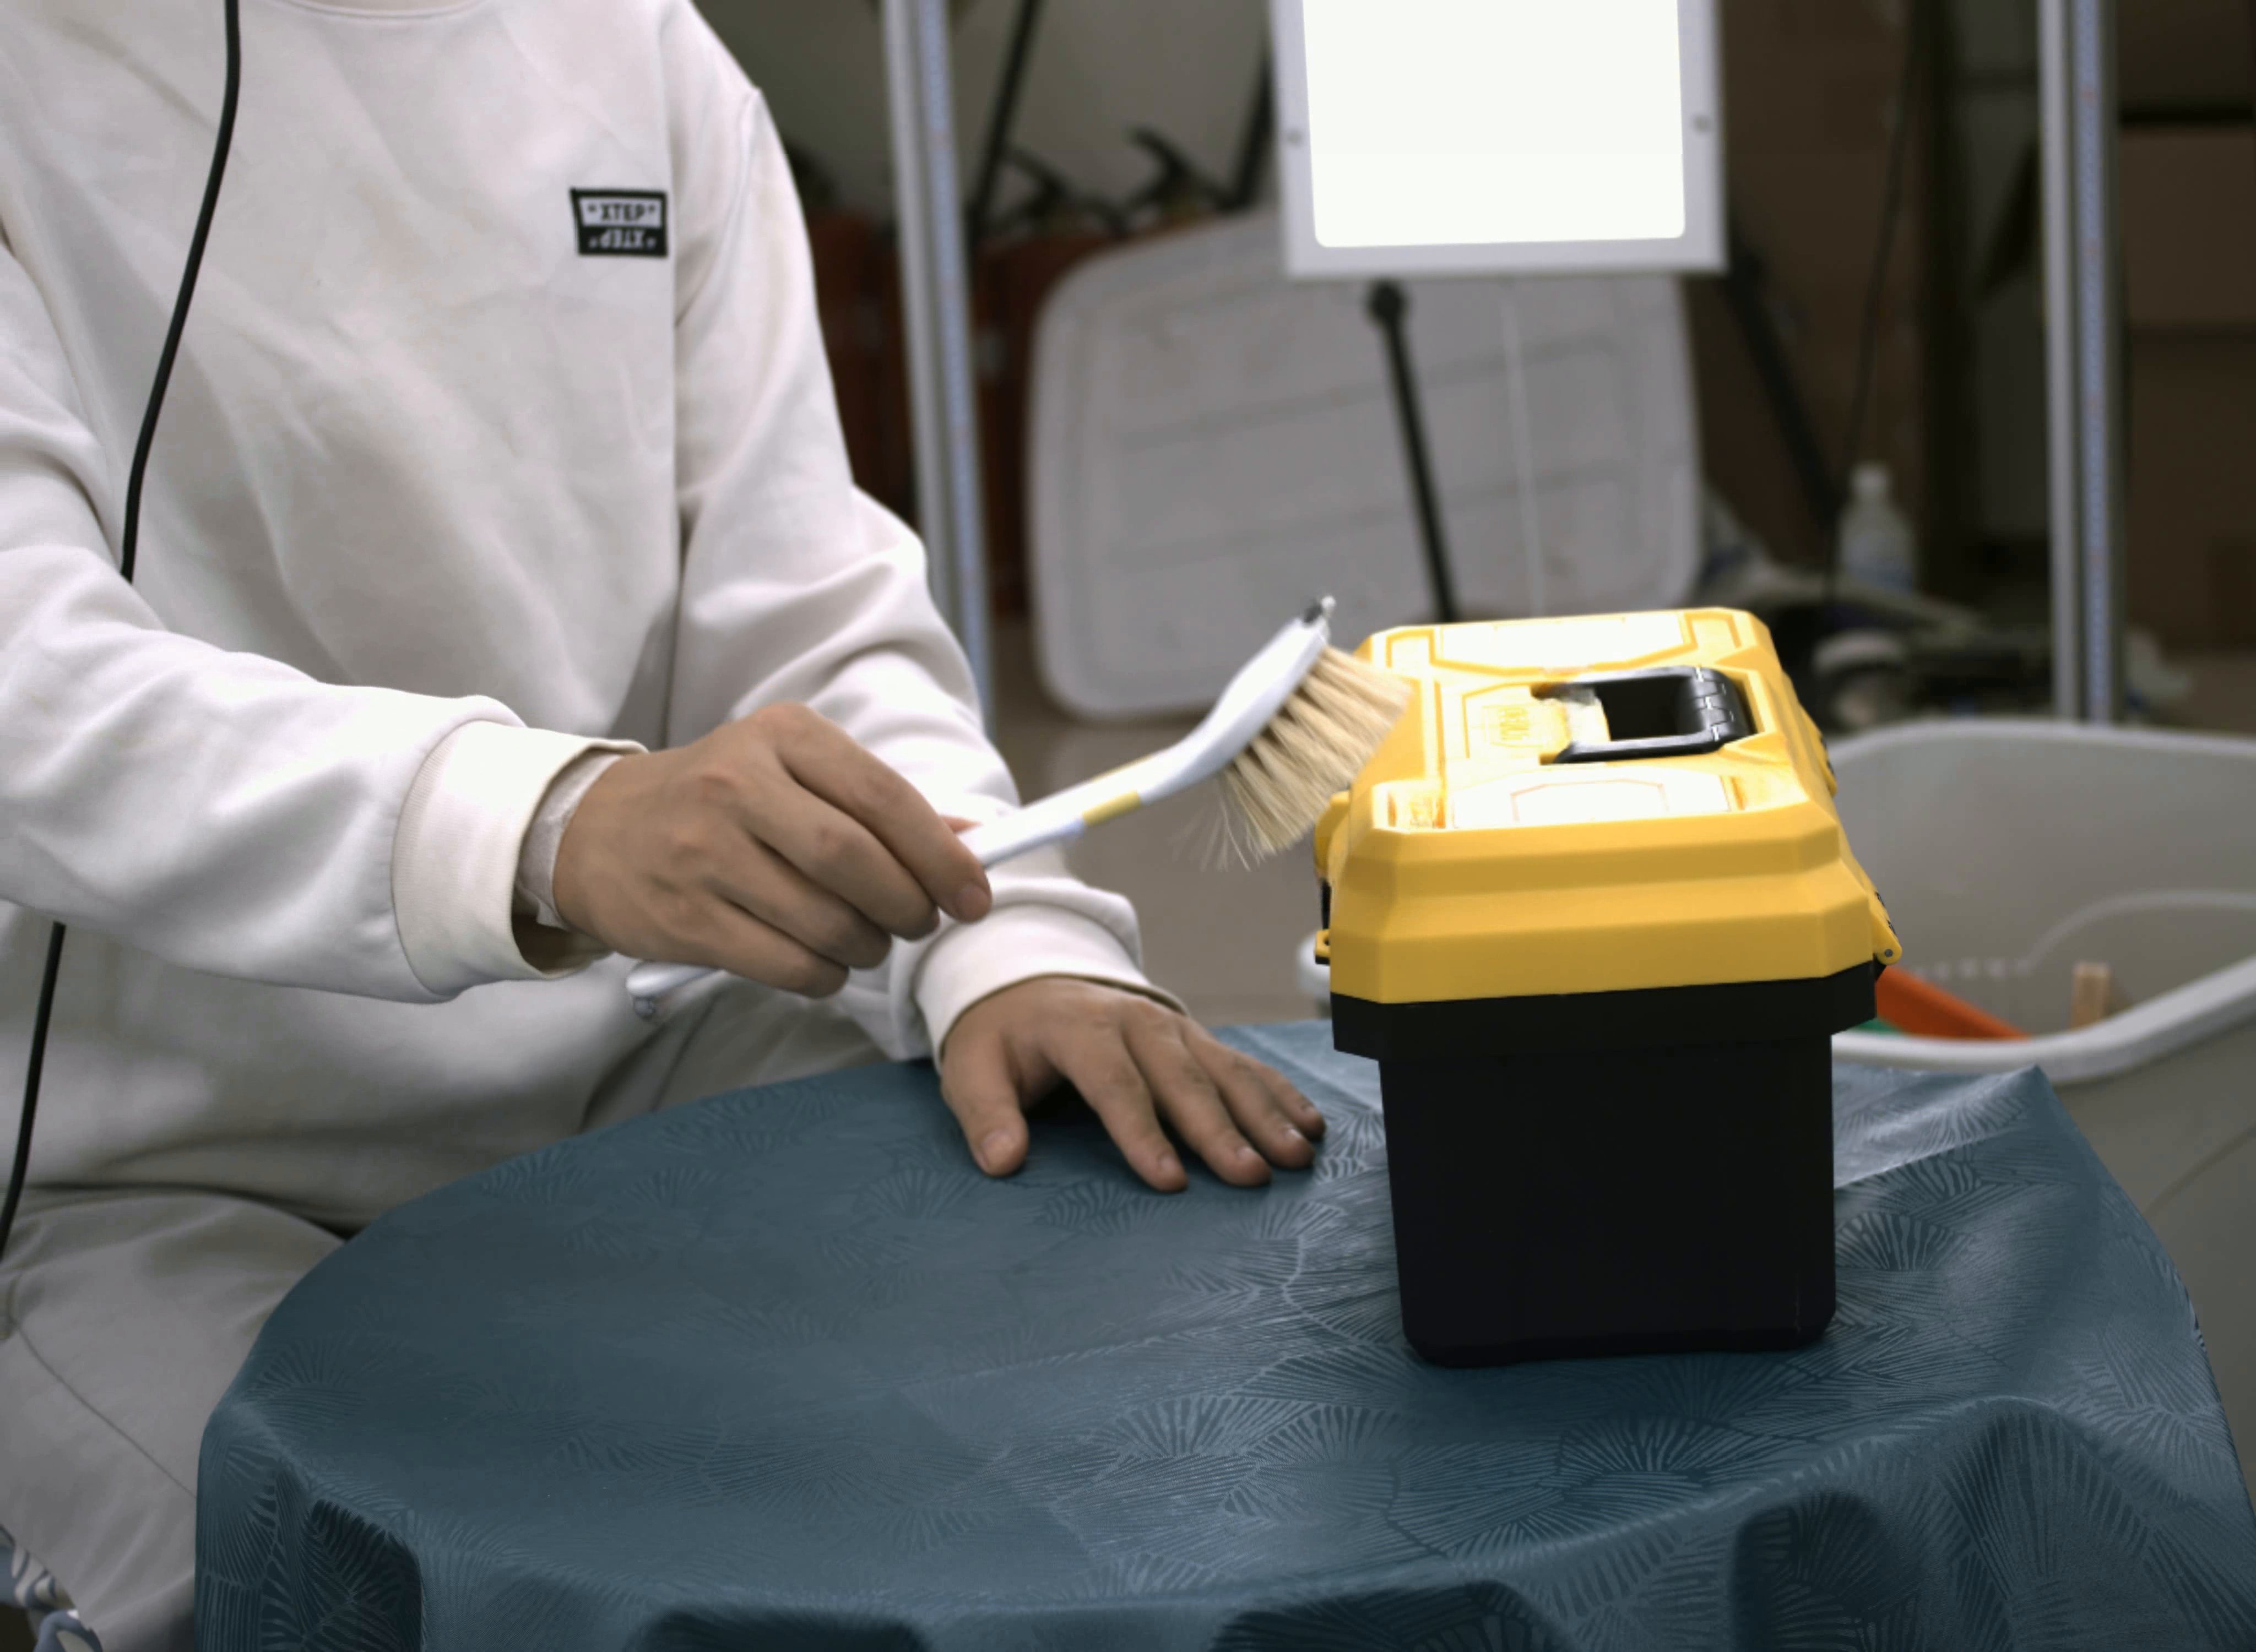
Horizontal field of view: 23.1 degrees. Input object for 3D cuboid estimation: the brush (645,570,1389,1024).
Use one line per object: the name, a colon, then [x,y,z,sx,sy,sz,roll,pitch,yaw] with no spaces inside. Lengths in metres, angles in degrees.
brush: [-0.032,0.012,1.673,0.270,0.056,0.067,-33,-3,23]

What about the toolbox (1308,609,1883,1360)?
toolbox: [0.151,0.044,1.813,0.181,0.173,0.349,-3,13,4]
